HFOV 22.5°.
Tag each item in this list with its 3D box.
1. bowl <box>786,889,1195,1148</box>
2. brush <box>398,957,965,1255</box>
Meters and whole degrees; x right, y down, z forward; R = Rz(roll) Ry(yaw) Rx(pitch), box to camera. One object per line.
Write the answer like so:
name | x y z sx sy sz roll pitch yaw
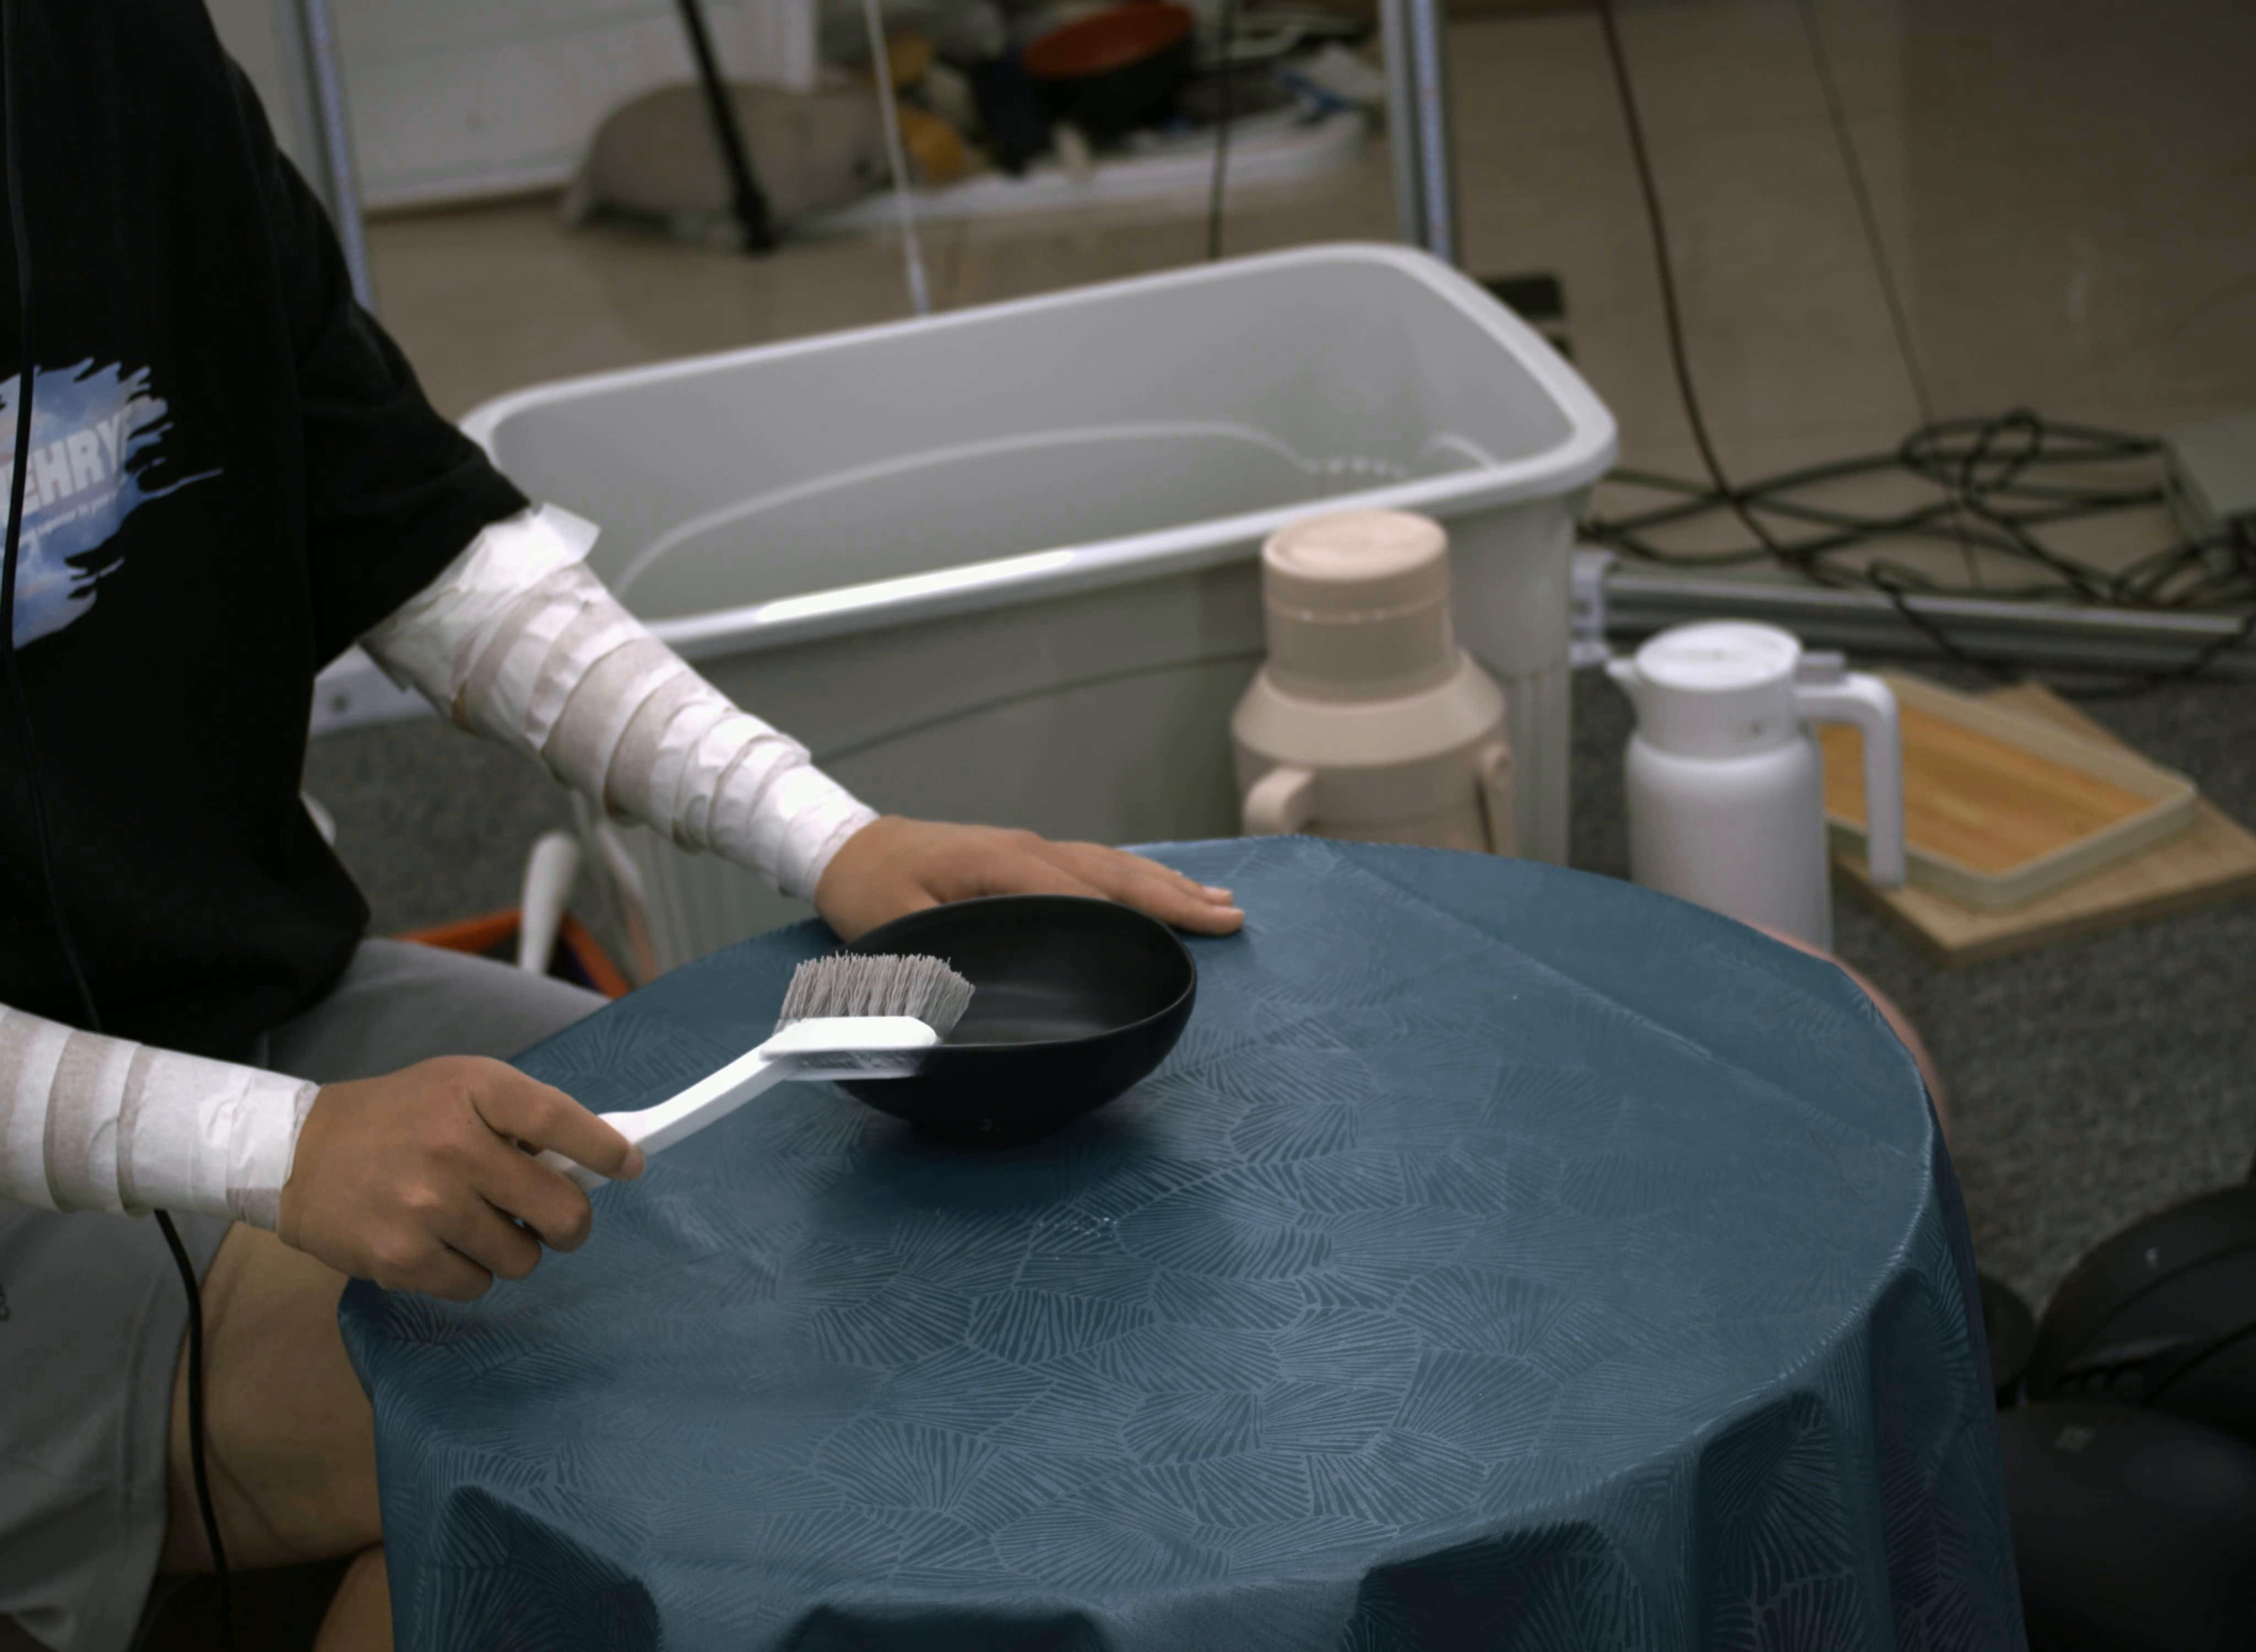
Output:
bowl | -0.052 0.083 2.206 0.170 0.068 0.135 2 26 24
brush | -0.167 0.098 2.065 0.244 0.035 0.049 -21 60 25
